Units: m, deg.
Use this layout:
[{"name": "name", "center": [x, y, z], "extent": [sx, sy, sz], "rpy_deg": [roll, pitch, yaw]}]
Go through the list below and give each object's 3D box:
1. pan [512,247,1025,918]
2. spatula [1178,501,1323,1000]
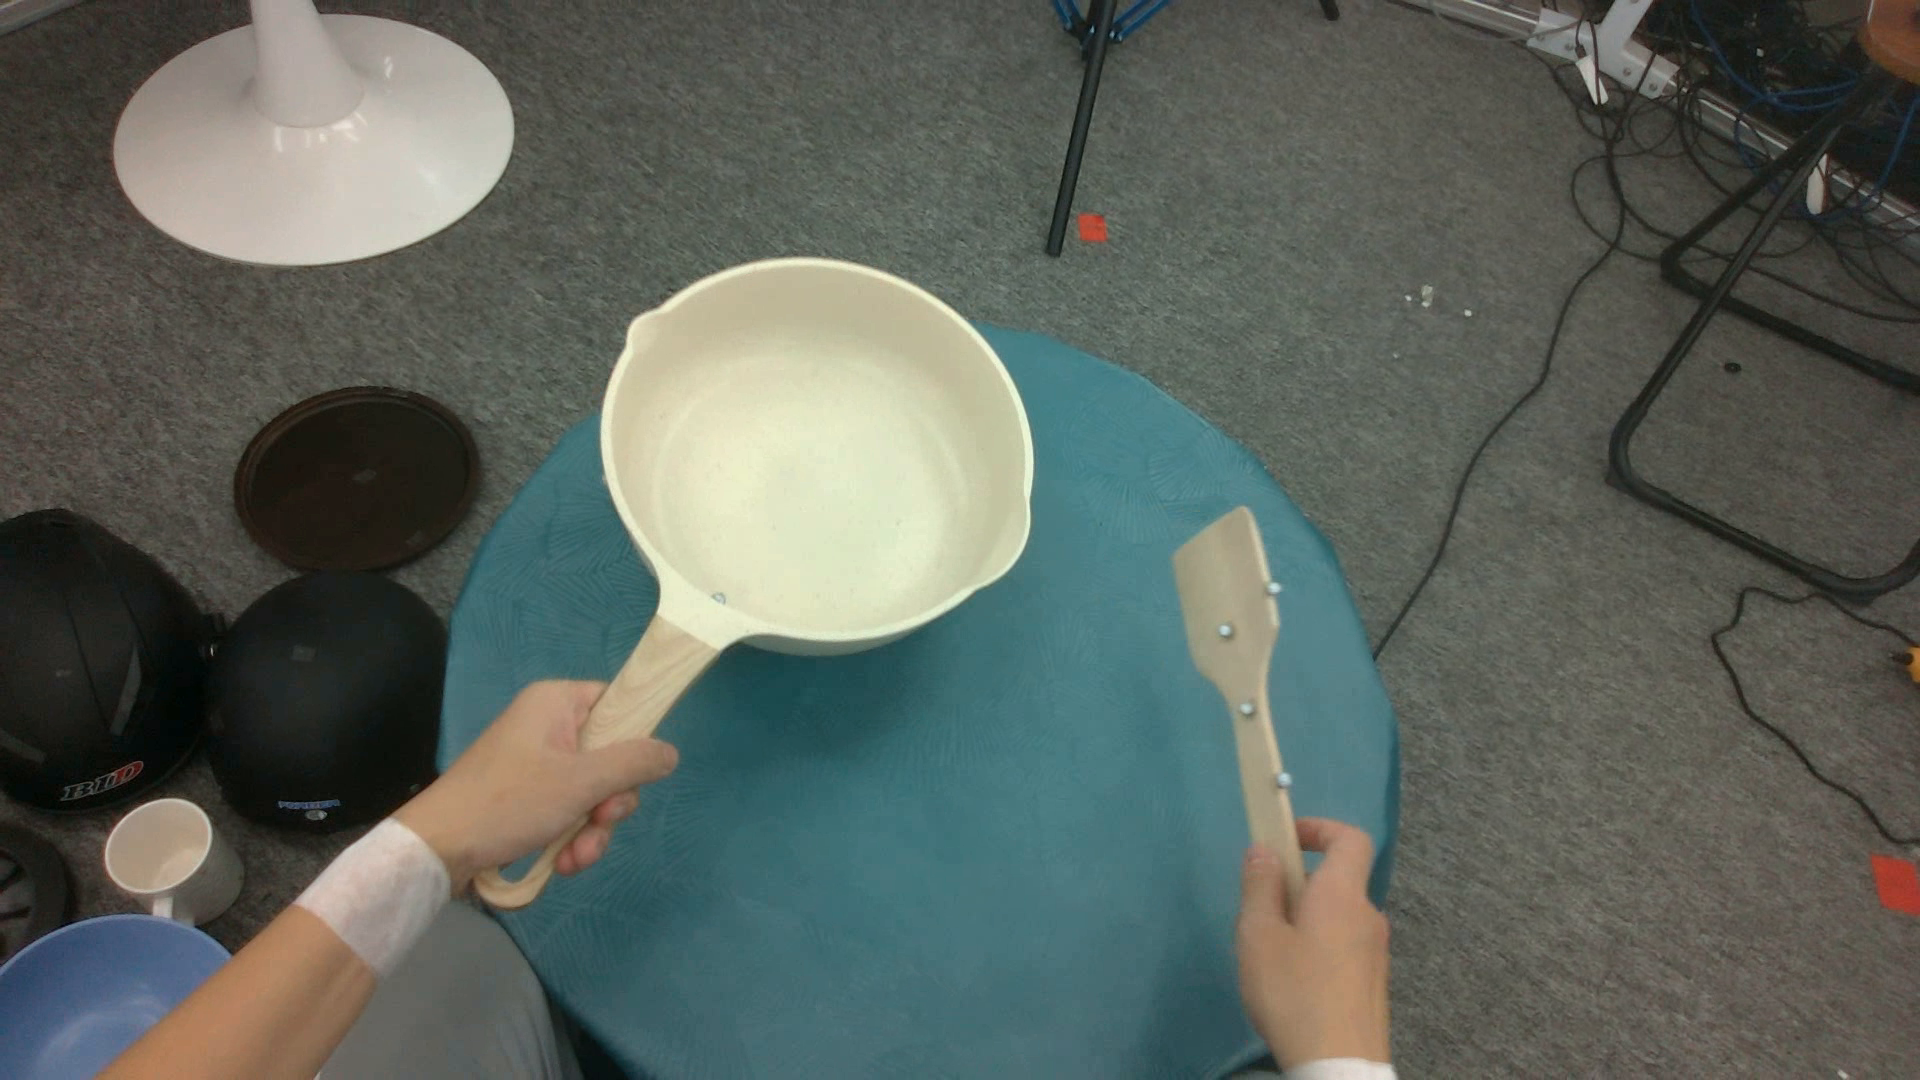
[{"name": "pan", "center": [-0.128, 0.020, 0.797], "extent": [0.263, 0.101, 0.437], "rpy_deg": [29, 64, -2]}, {"name": "spatula", "center": [0.171, 0.113, 0.788], "extent": [0.010, 0.072, 0.294], "rpy_deg": [17, 52, -29]}]
